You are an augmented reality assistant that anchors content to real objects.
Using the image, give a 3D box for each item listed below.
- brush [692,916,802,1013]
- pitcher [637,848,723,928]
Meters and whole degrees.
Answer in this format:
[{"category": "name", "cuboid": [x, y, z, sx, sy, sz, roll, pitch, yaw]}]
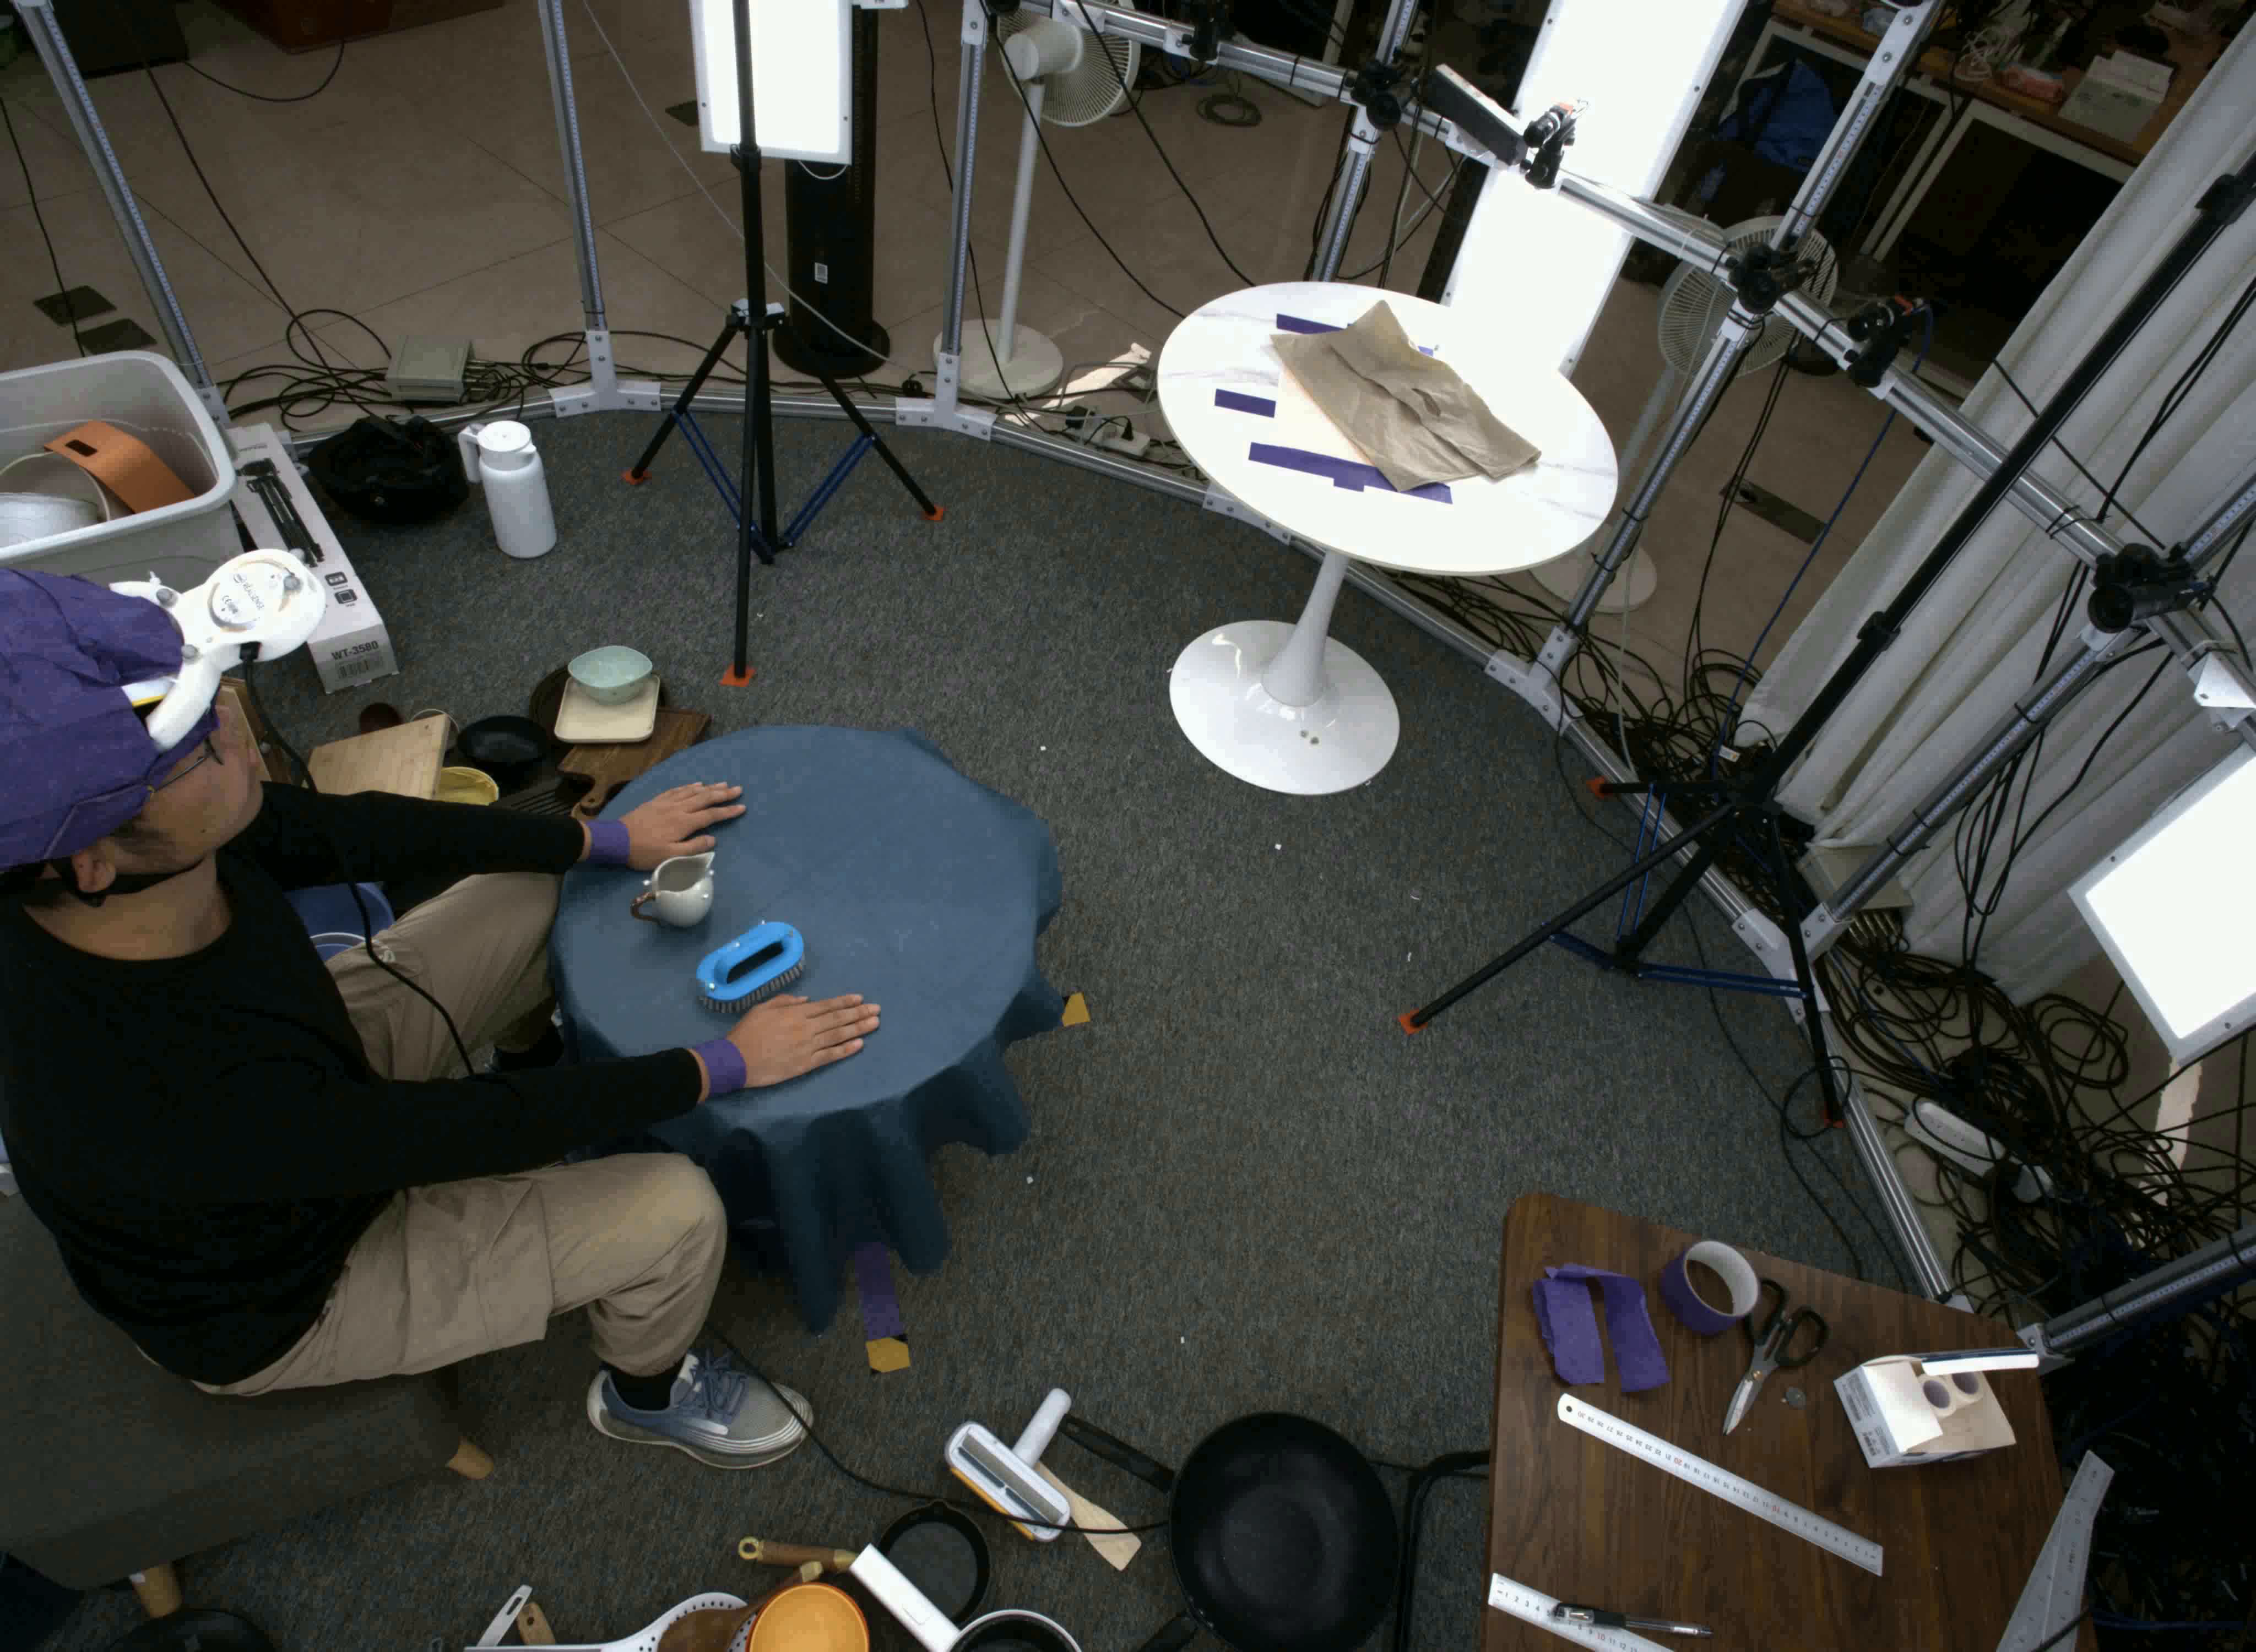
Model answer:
[{"category": "brush", "cuboid": [-0.457, 0.158, 1.559, 0.142, 0.065, 0.083, -32, 70, -30]}, {"category": "pitcher", "cuboid": [-0.546, 0.081, 1.580, 0.120, 0.090, 0.073, -27, 57, -33]}]
